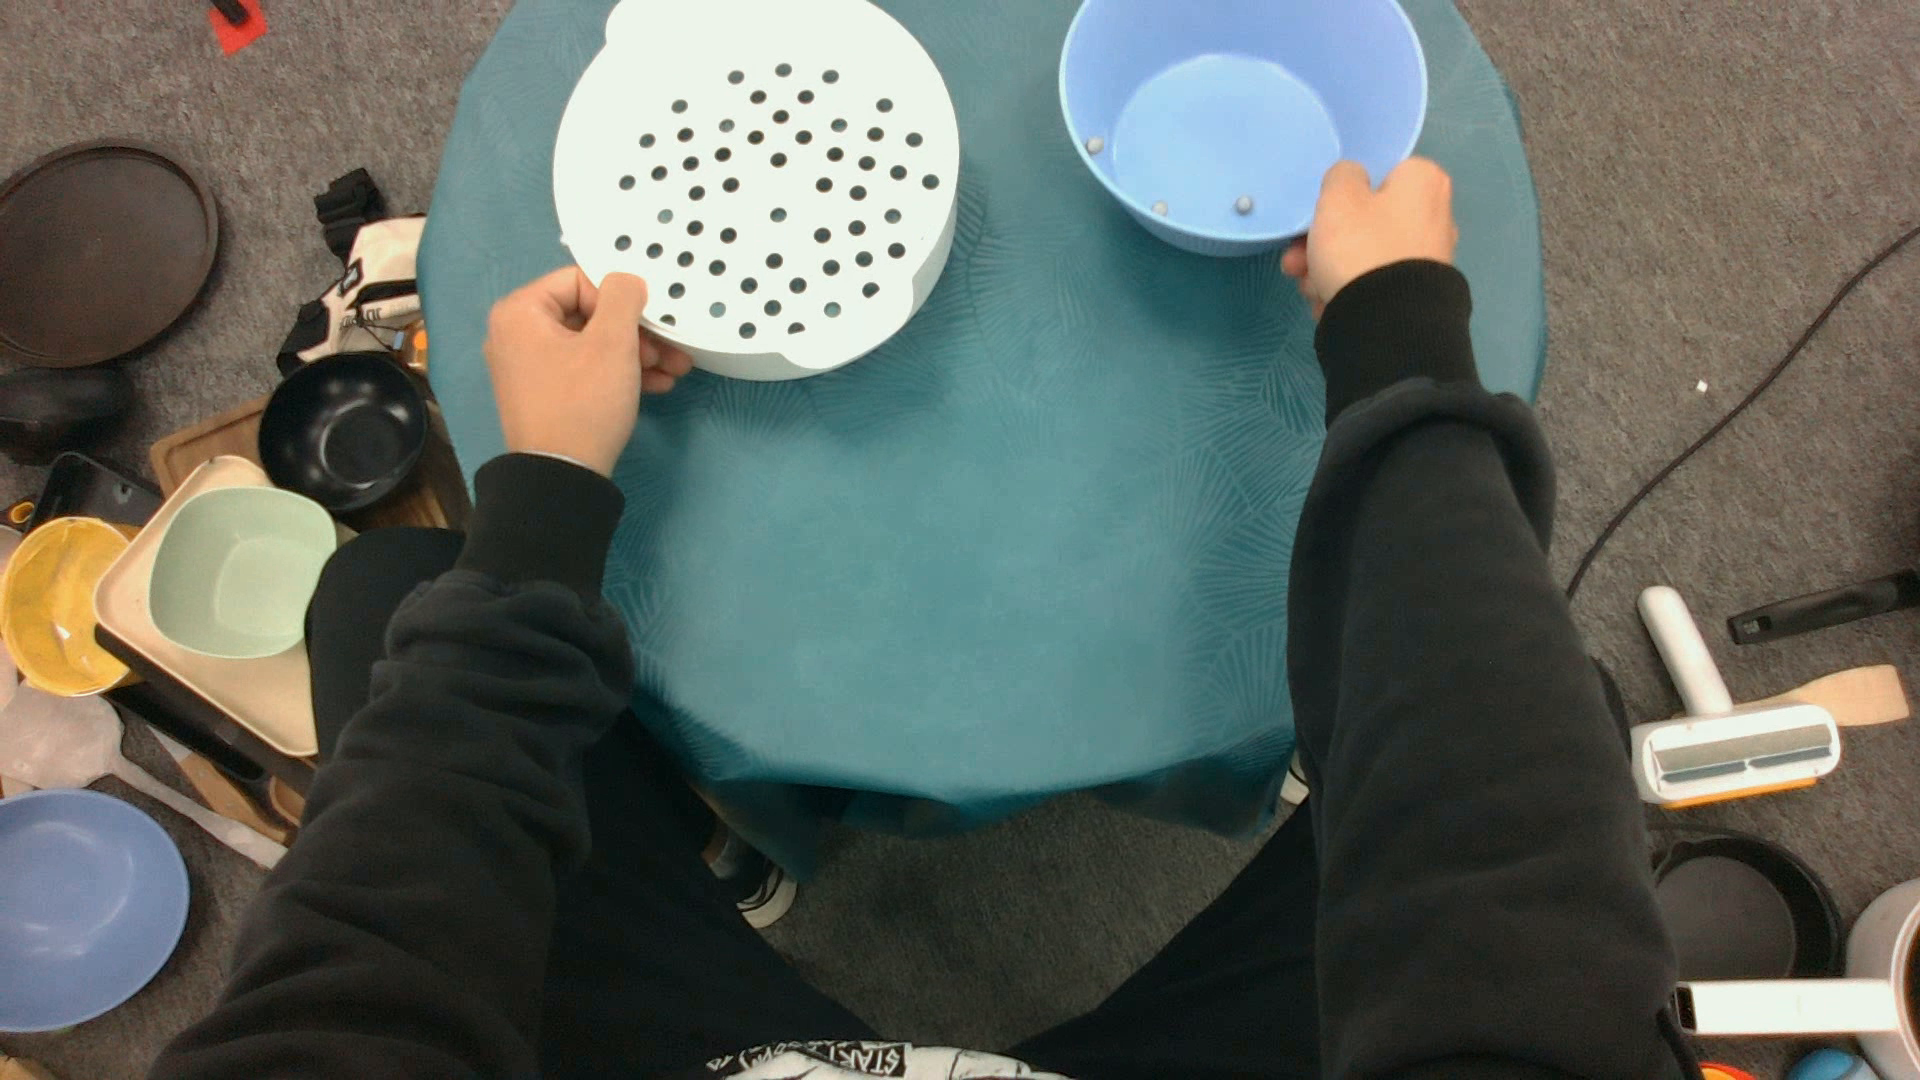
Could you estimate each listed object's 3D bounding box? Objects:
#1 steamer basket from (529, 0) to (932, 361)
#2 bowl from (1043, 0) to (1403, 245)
[{"bbox_3d":[-0.113,-0.191,0.709,0.202,0.069,0.231,-30,75,-5],"label":"steamer basket"},{"bbox_3d":[0.130,-0.219,0.704,0.176,0.070,0.176,-1,71,3],"label":"bowl"}]
